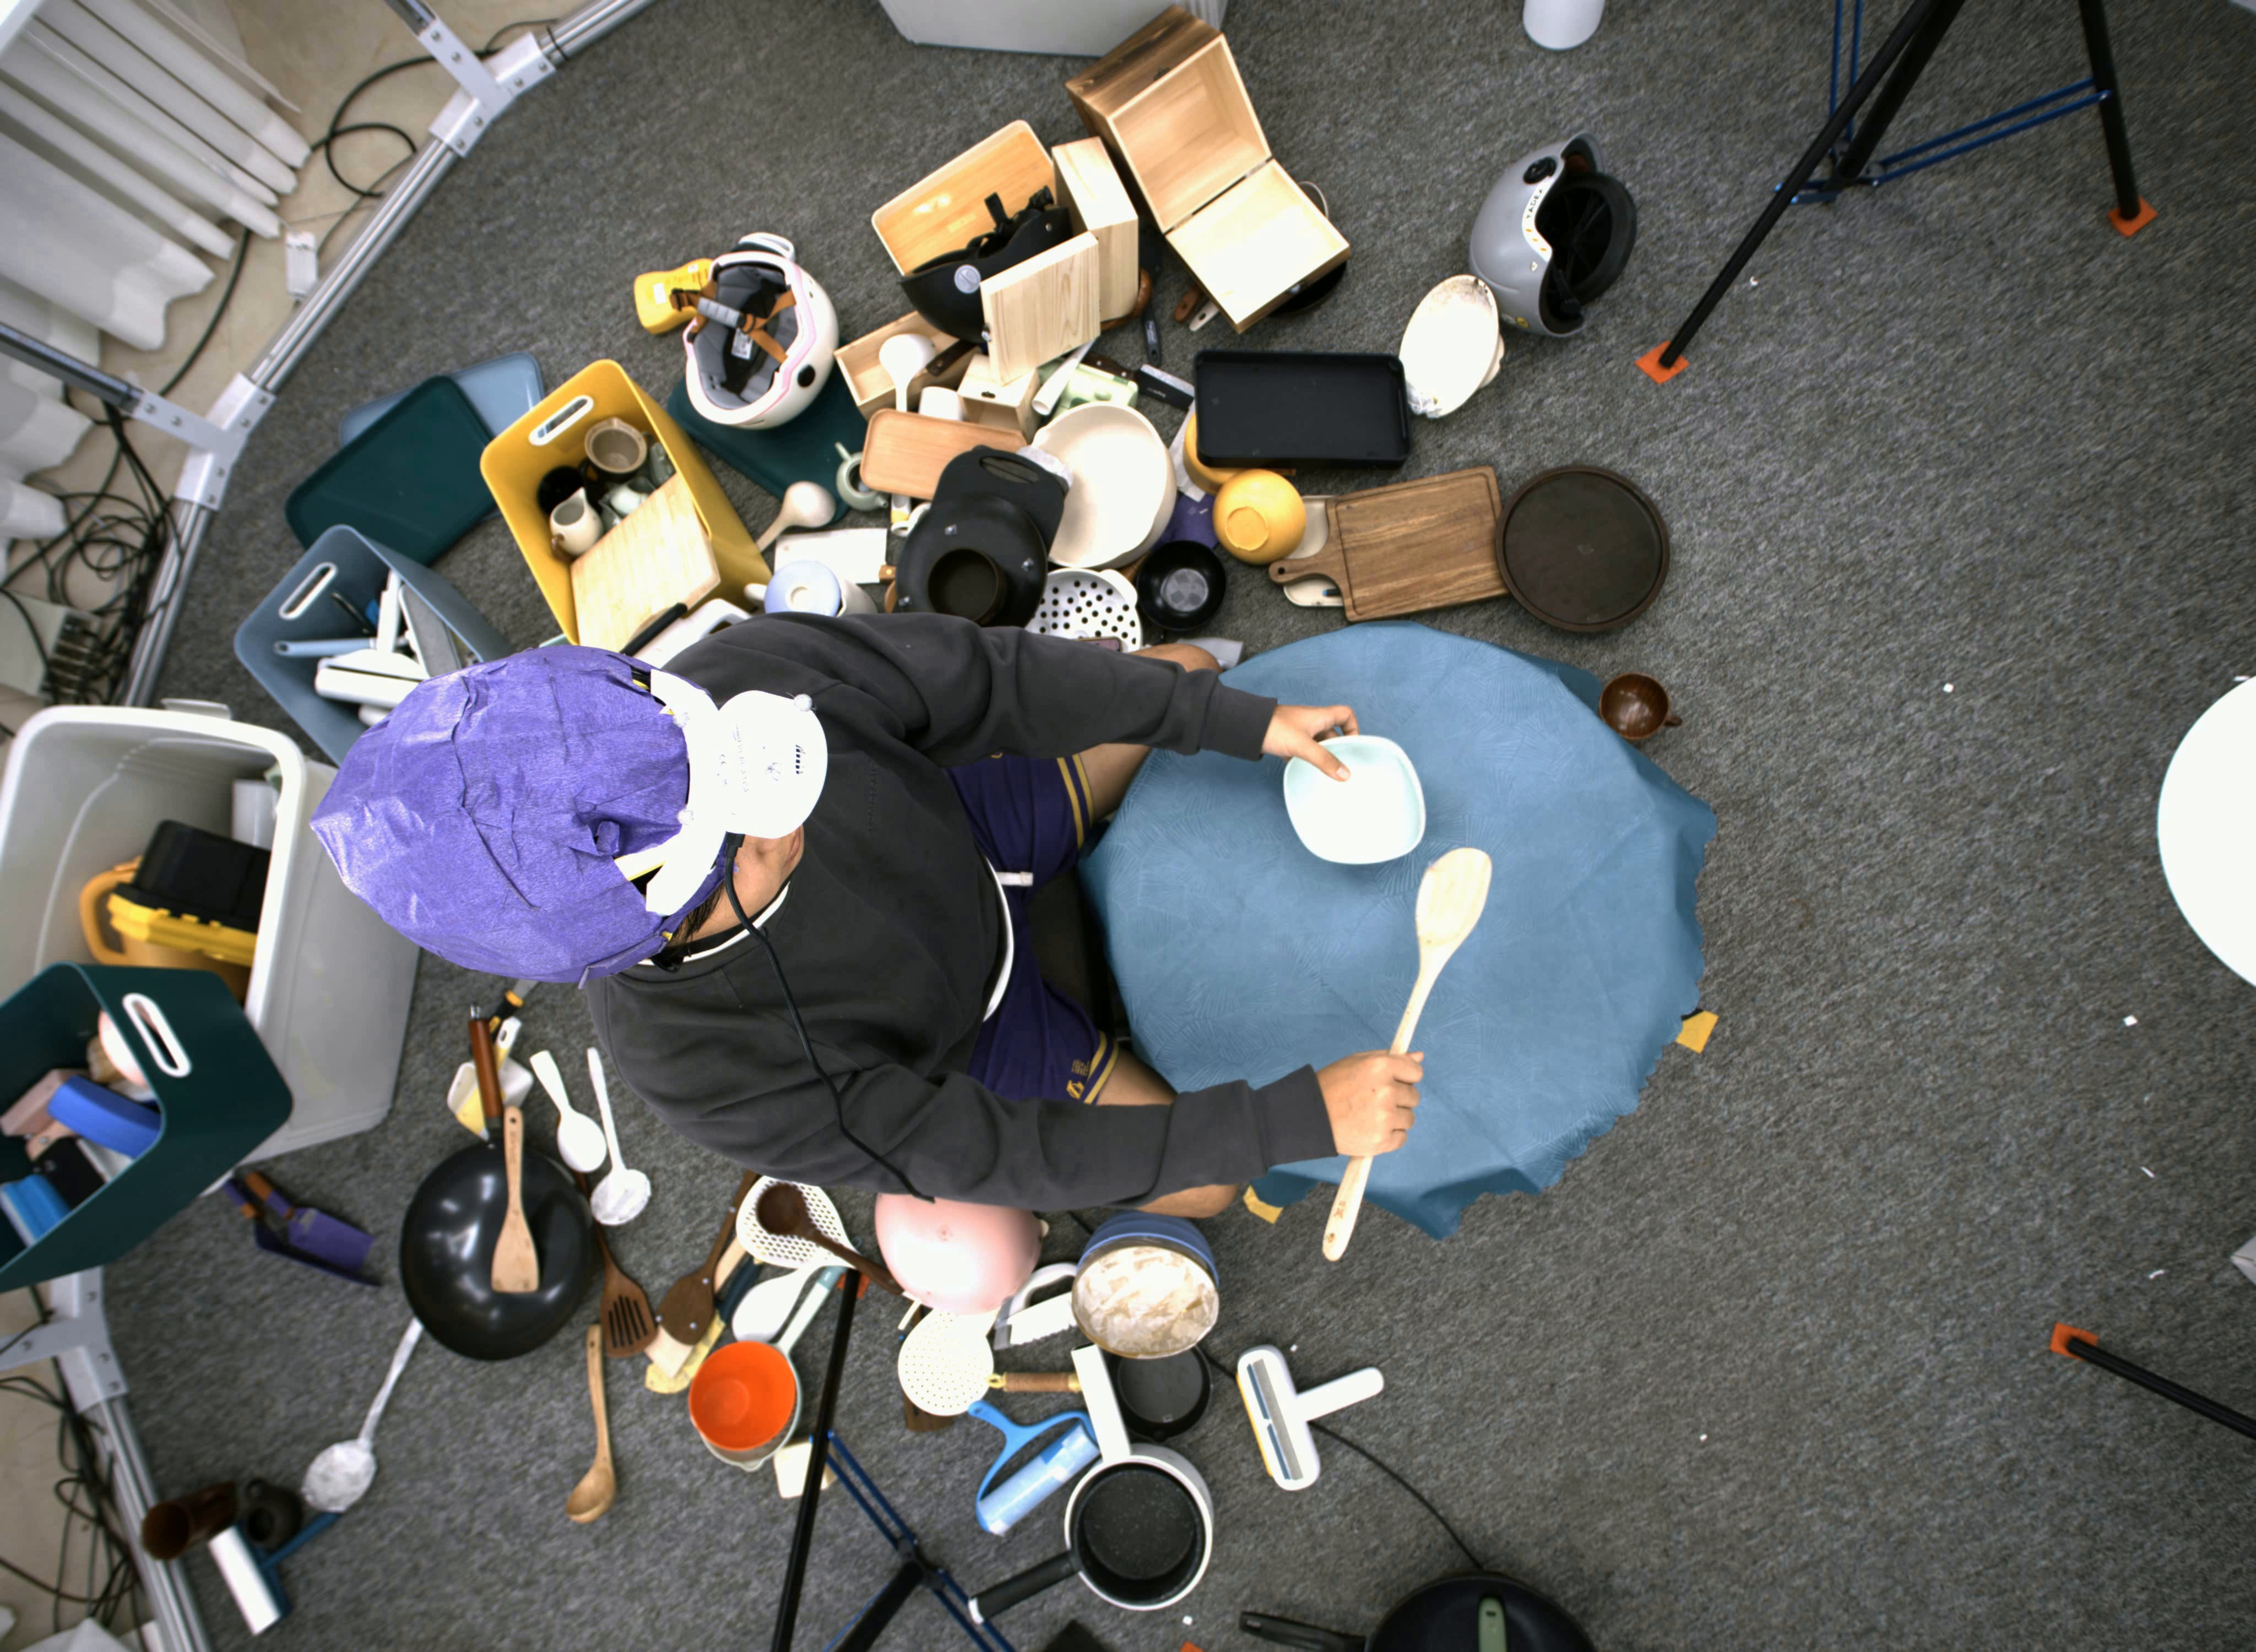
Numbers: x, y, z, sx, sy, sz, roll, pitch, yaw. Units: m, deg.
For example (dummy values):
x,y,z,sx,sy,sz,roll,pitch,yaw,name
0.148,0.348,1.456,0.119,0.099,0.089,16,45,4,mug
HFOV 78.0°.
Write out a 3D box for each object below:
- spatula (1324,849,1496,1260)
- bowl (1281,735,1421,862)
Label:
x,y,z,sx,sy,sz,roll,pitch,yaw,name
0.248,0.199,1.236,0.018,0.096,0.387,25,81,-16,spatula
0.230,-0.038,1.384,0.152,0.057,0.155,13,126,18,bowl
